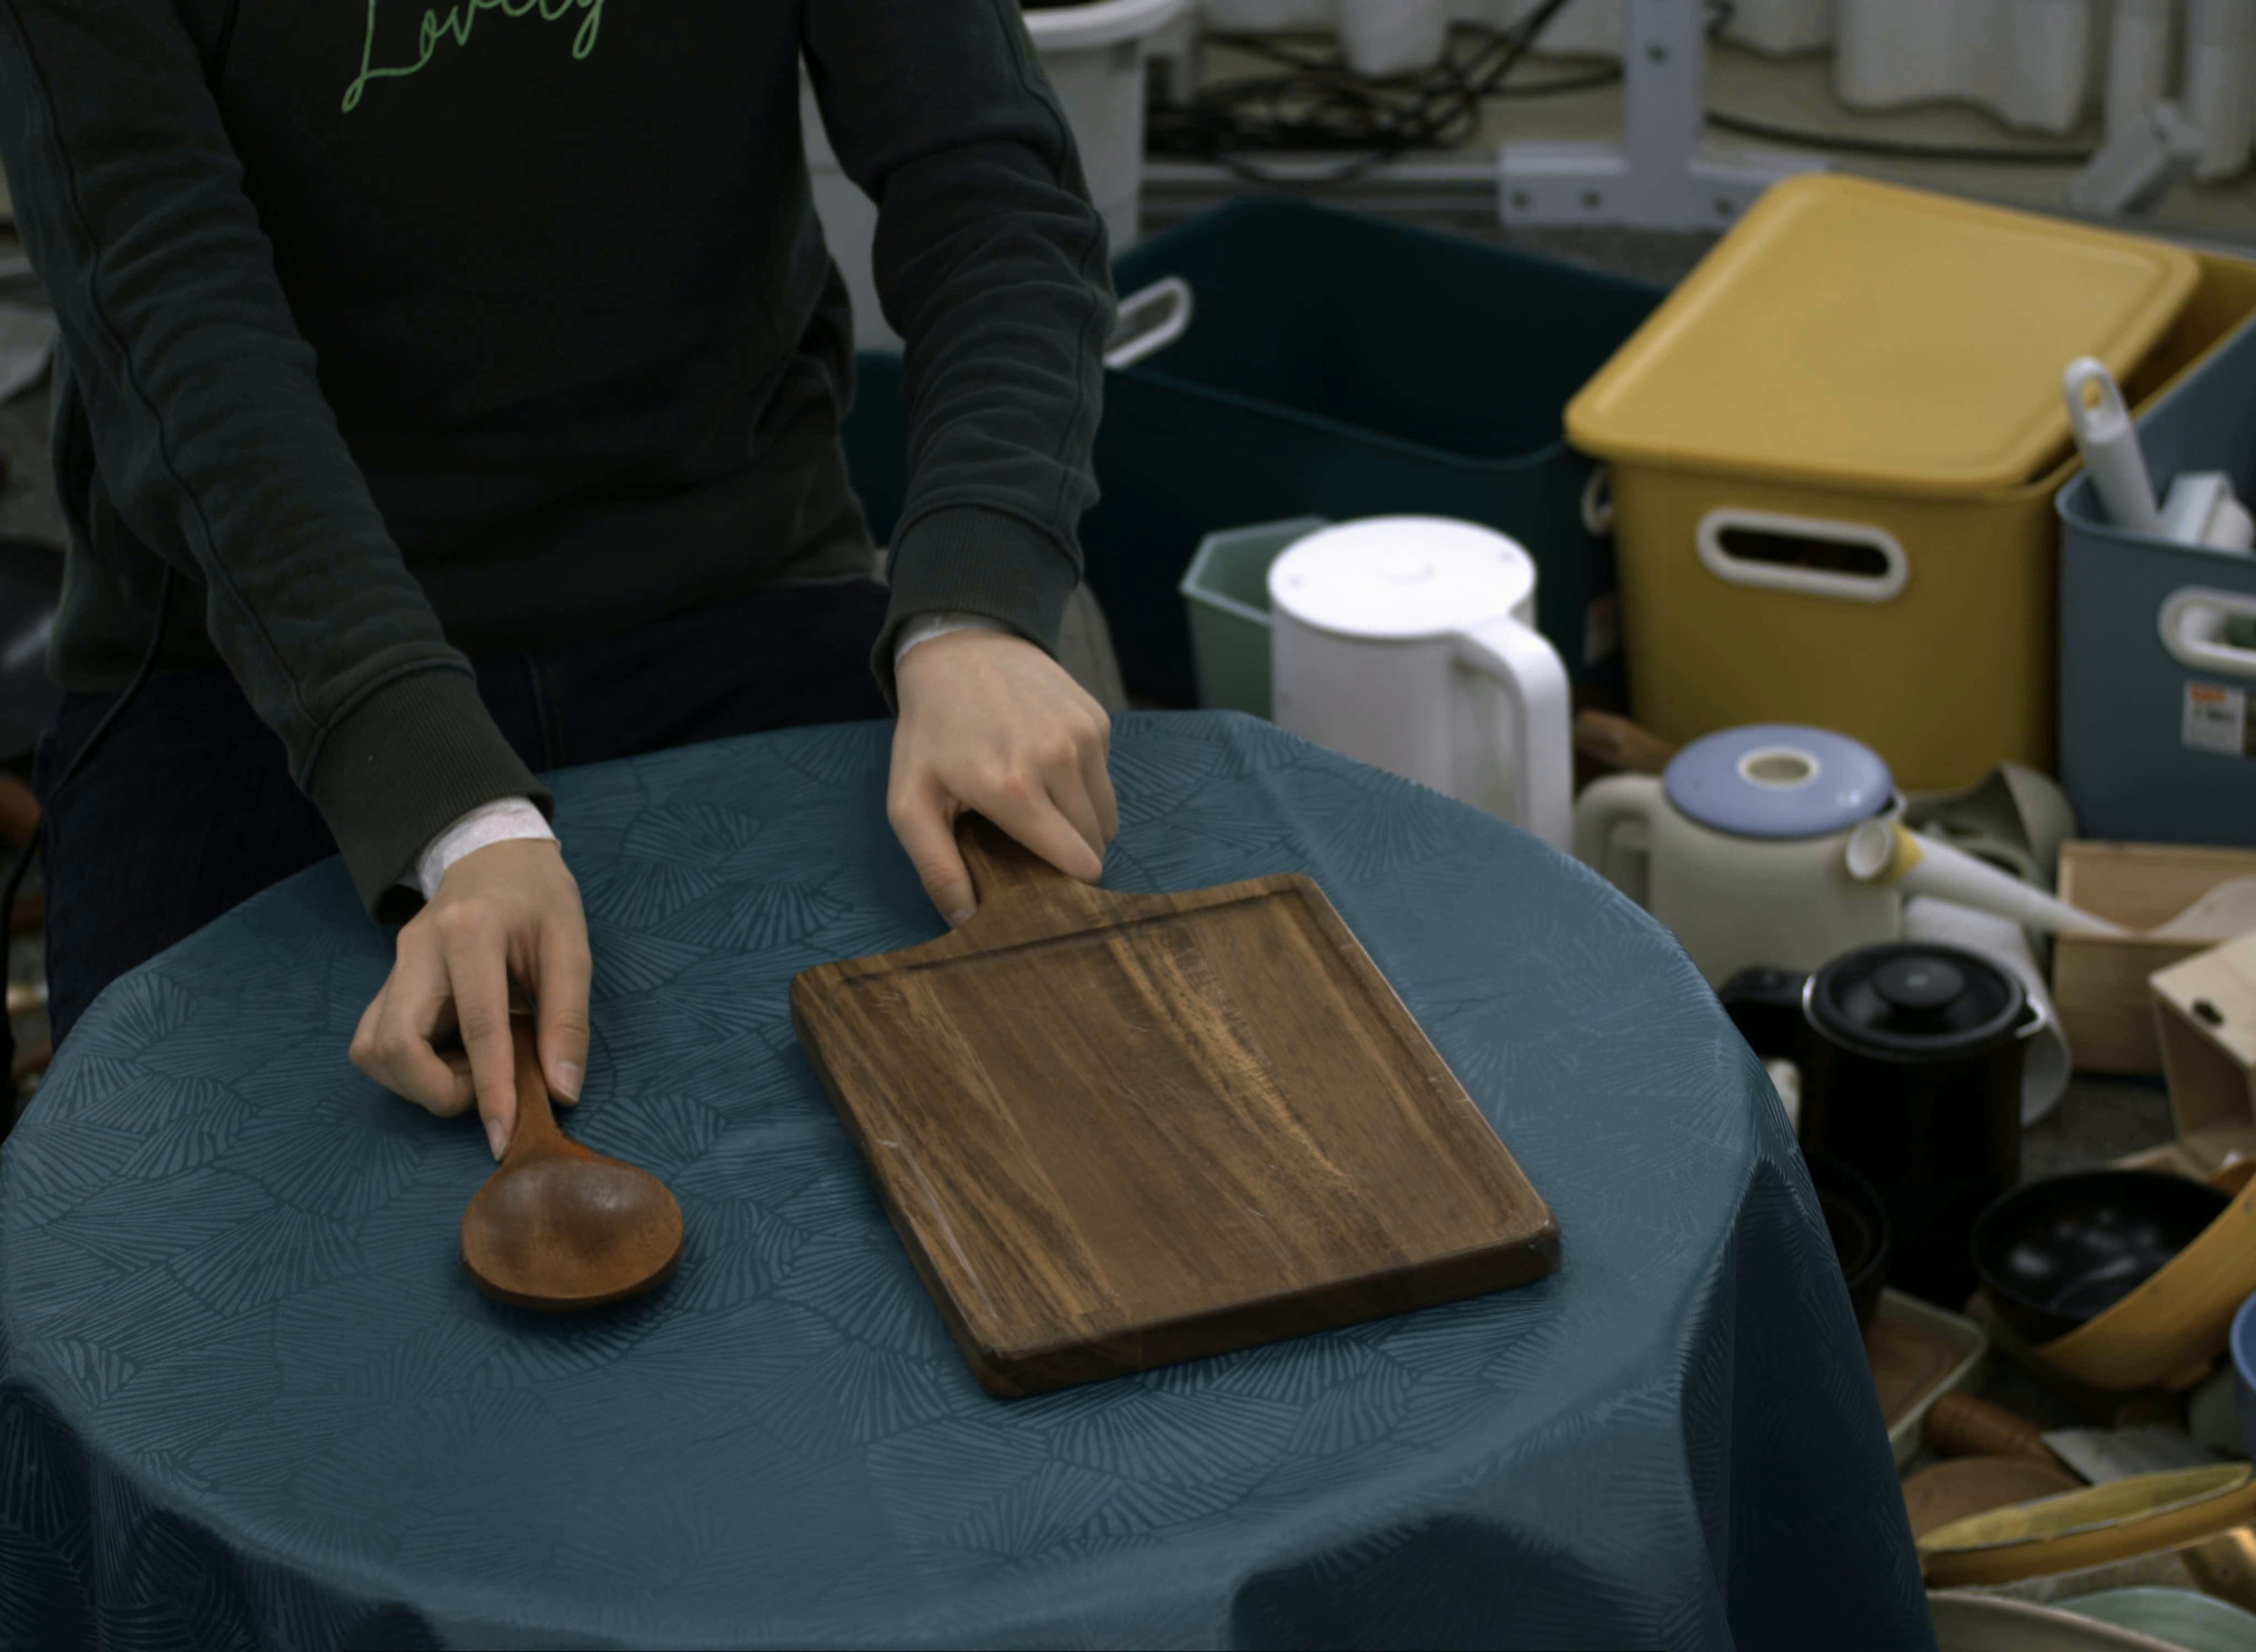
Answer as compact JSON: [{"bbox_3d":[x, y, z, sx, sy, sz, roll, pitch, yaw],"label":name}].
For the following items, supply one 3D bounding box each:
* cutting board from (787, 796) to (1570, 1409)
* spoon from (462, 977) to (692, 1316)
[{"bbox_3d":[-0.003,0.077,1.918,0.201,0.023,0.355,-12,30,-14],"label":"cutting board"},{"bbox_3d":[-0.195,0.108,1.886,0.075,0.017,0.218,-10,29,-11],"label":"spoon"}]
